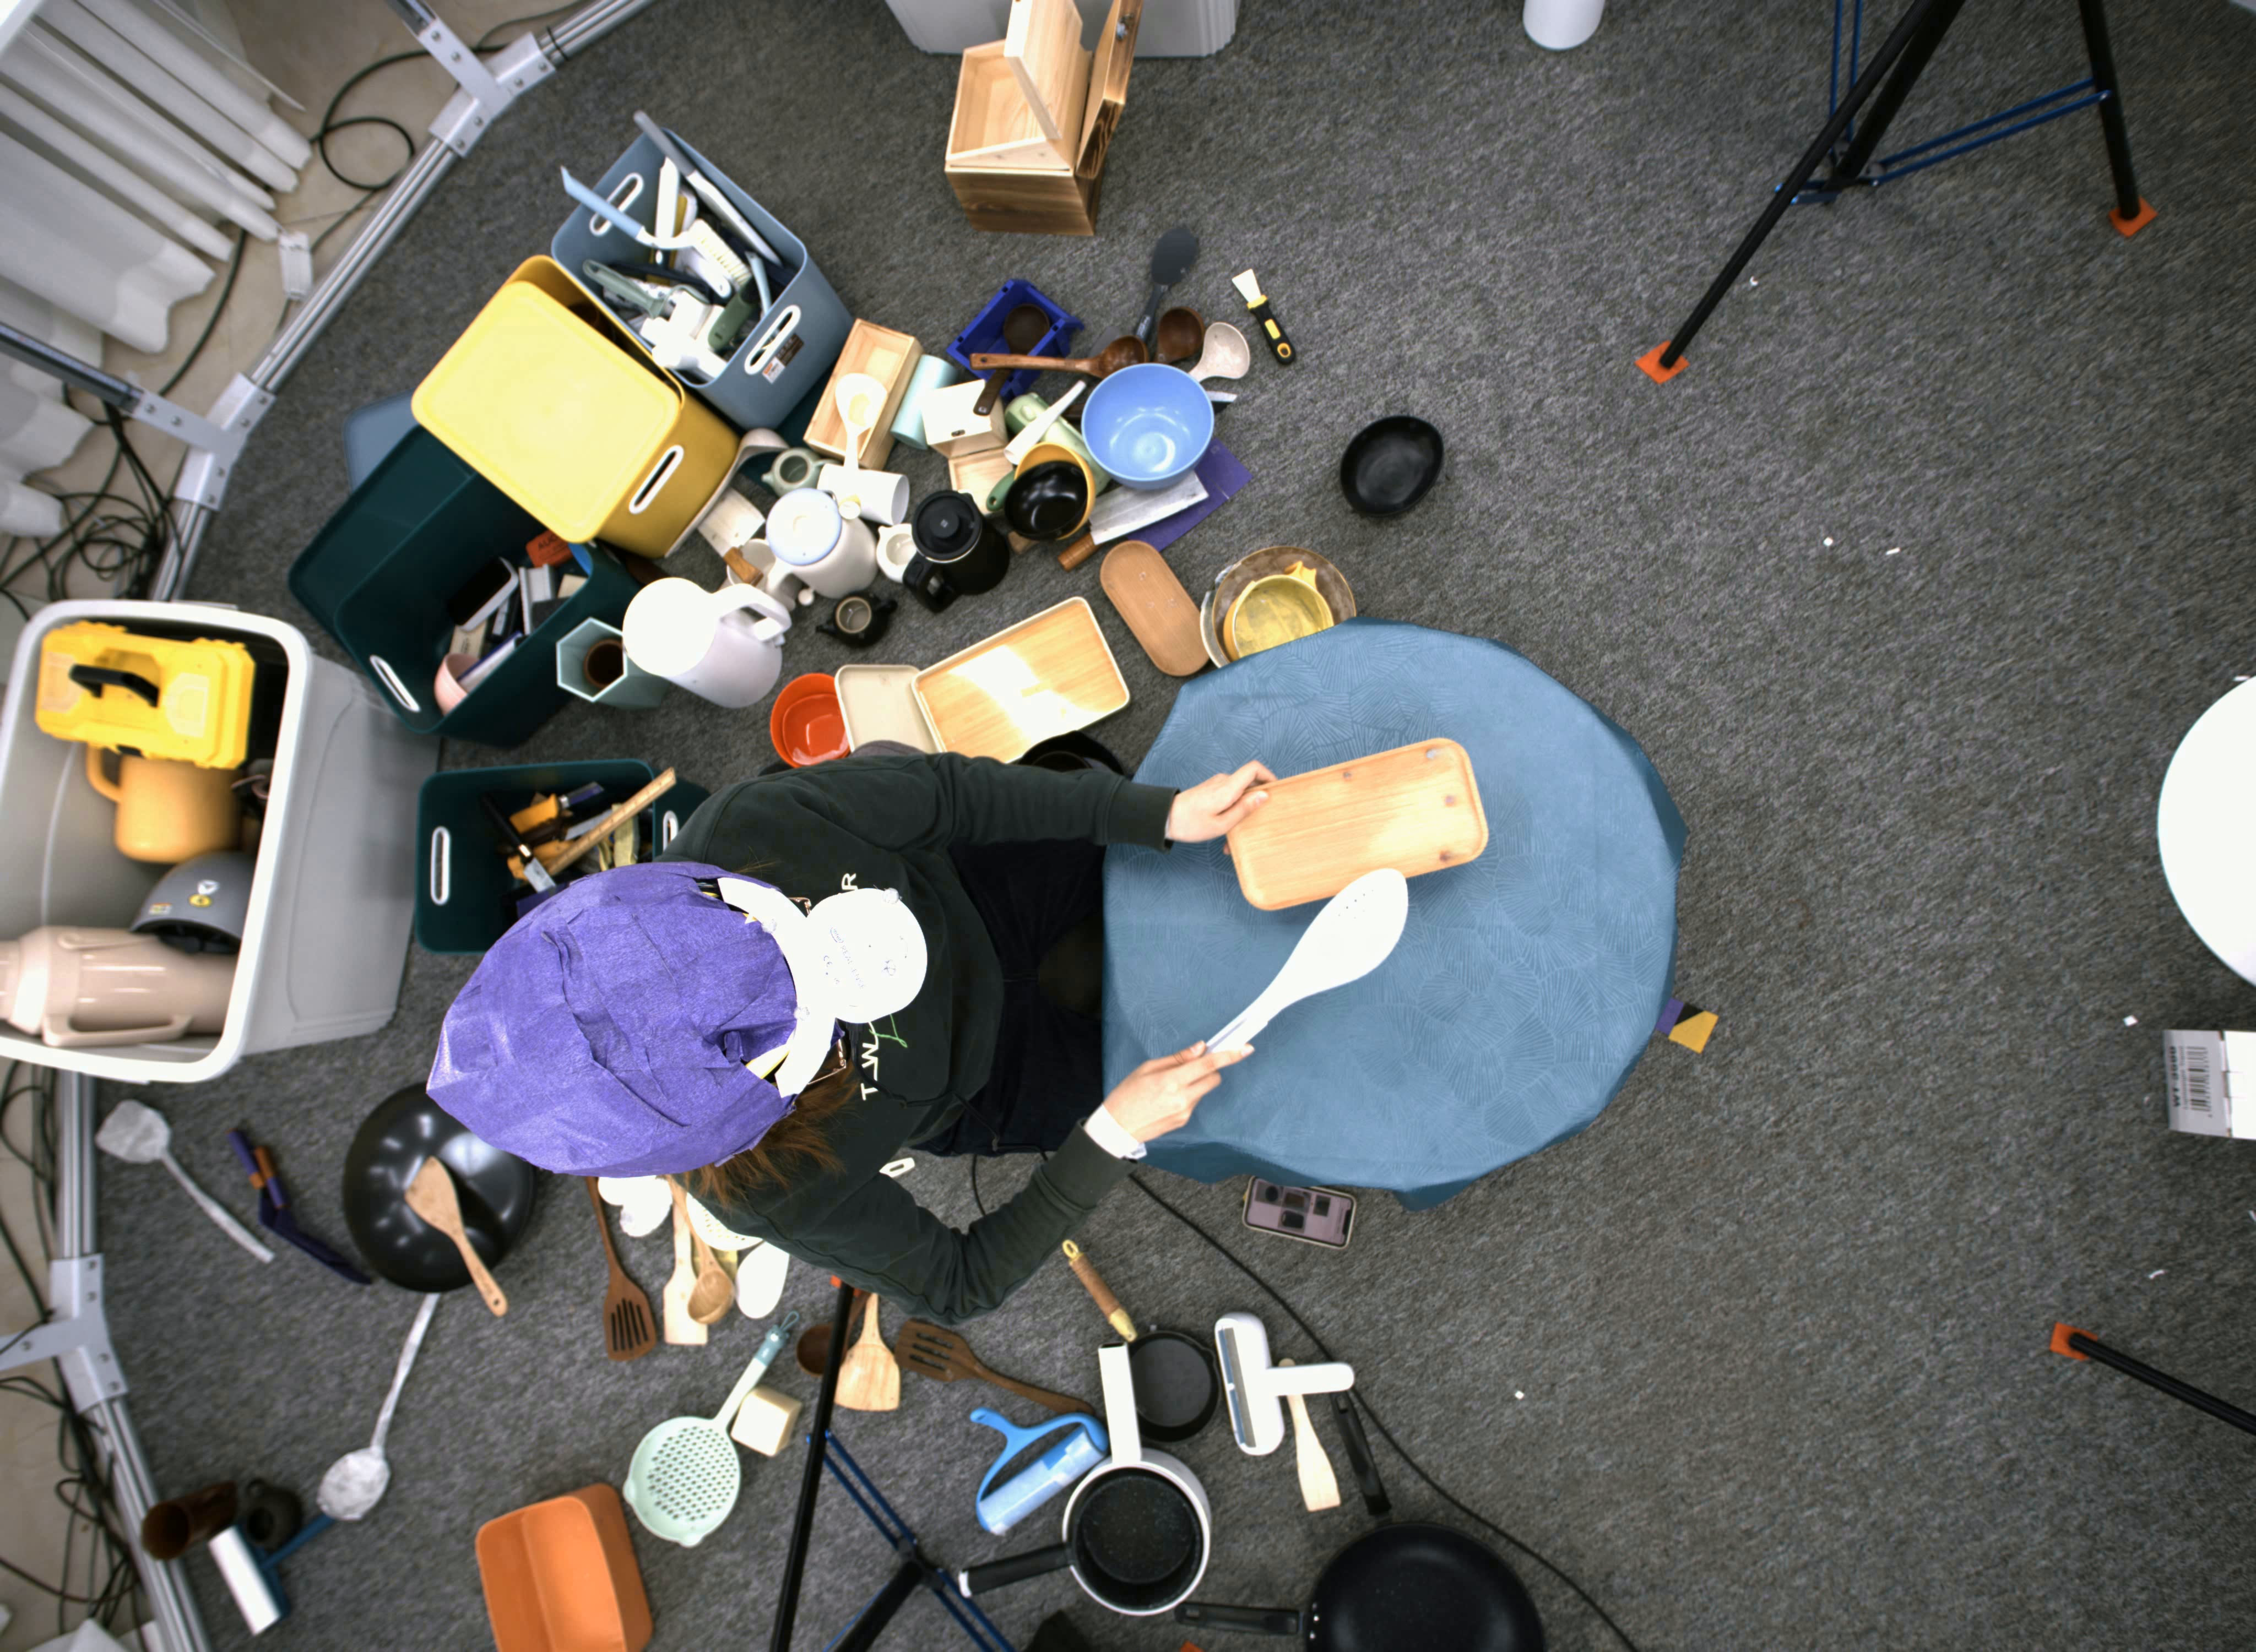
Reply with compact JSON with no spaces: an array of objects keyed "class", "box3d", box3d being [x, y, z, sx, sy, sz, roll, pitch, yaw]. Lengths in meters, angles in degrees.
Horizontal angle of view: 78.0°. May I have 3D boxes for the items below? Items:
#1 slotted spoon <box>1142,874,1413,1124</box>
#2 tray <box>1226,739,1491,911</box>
[{"class":"slotted spoon","box3d":[0.142,0.172,1.328,0.354,0.133,0.046,-39,106,15]},{"class":"tray","box3d":[0.229,-0.001,1.378,0.252,0.022,0.131,-14,97,15]}]
